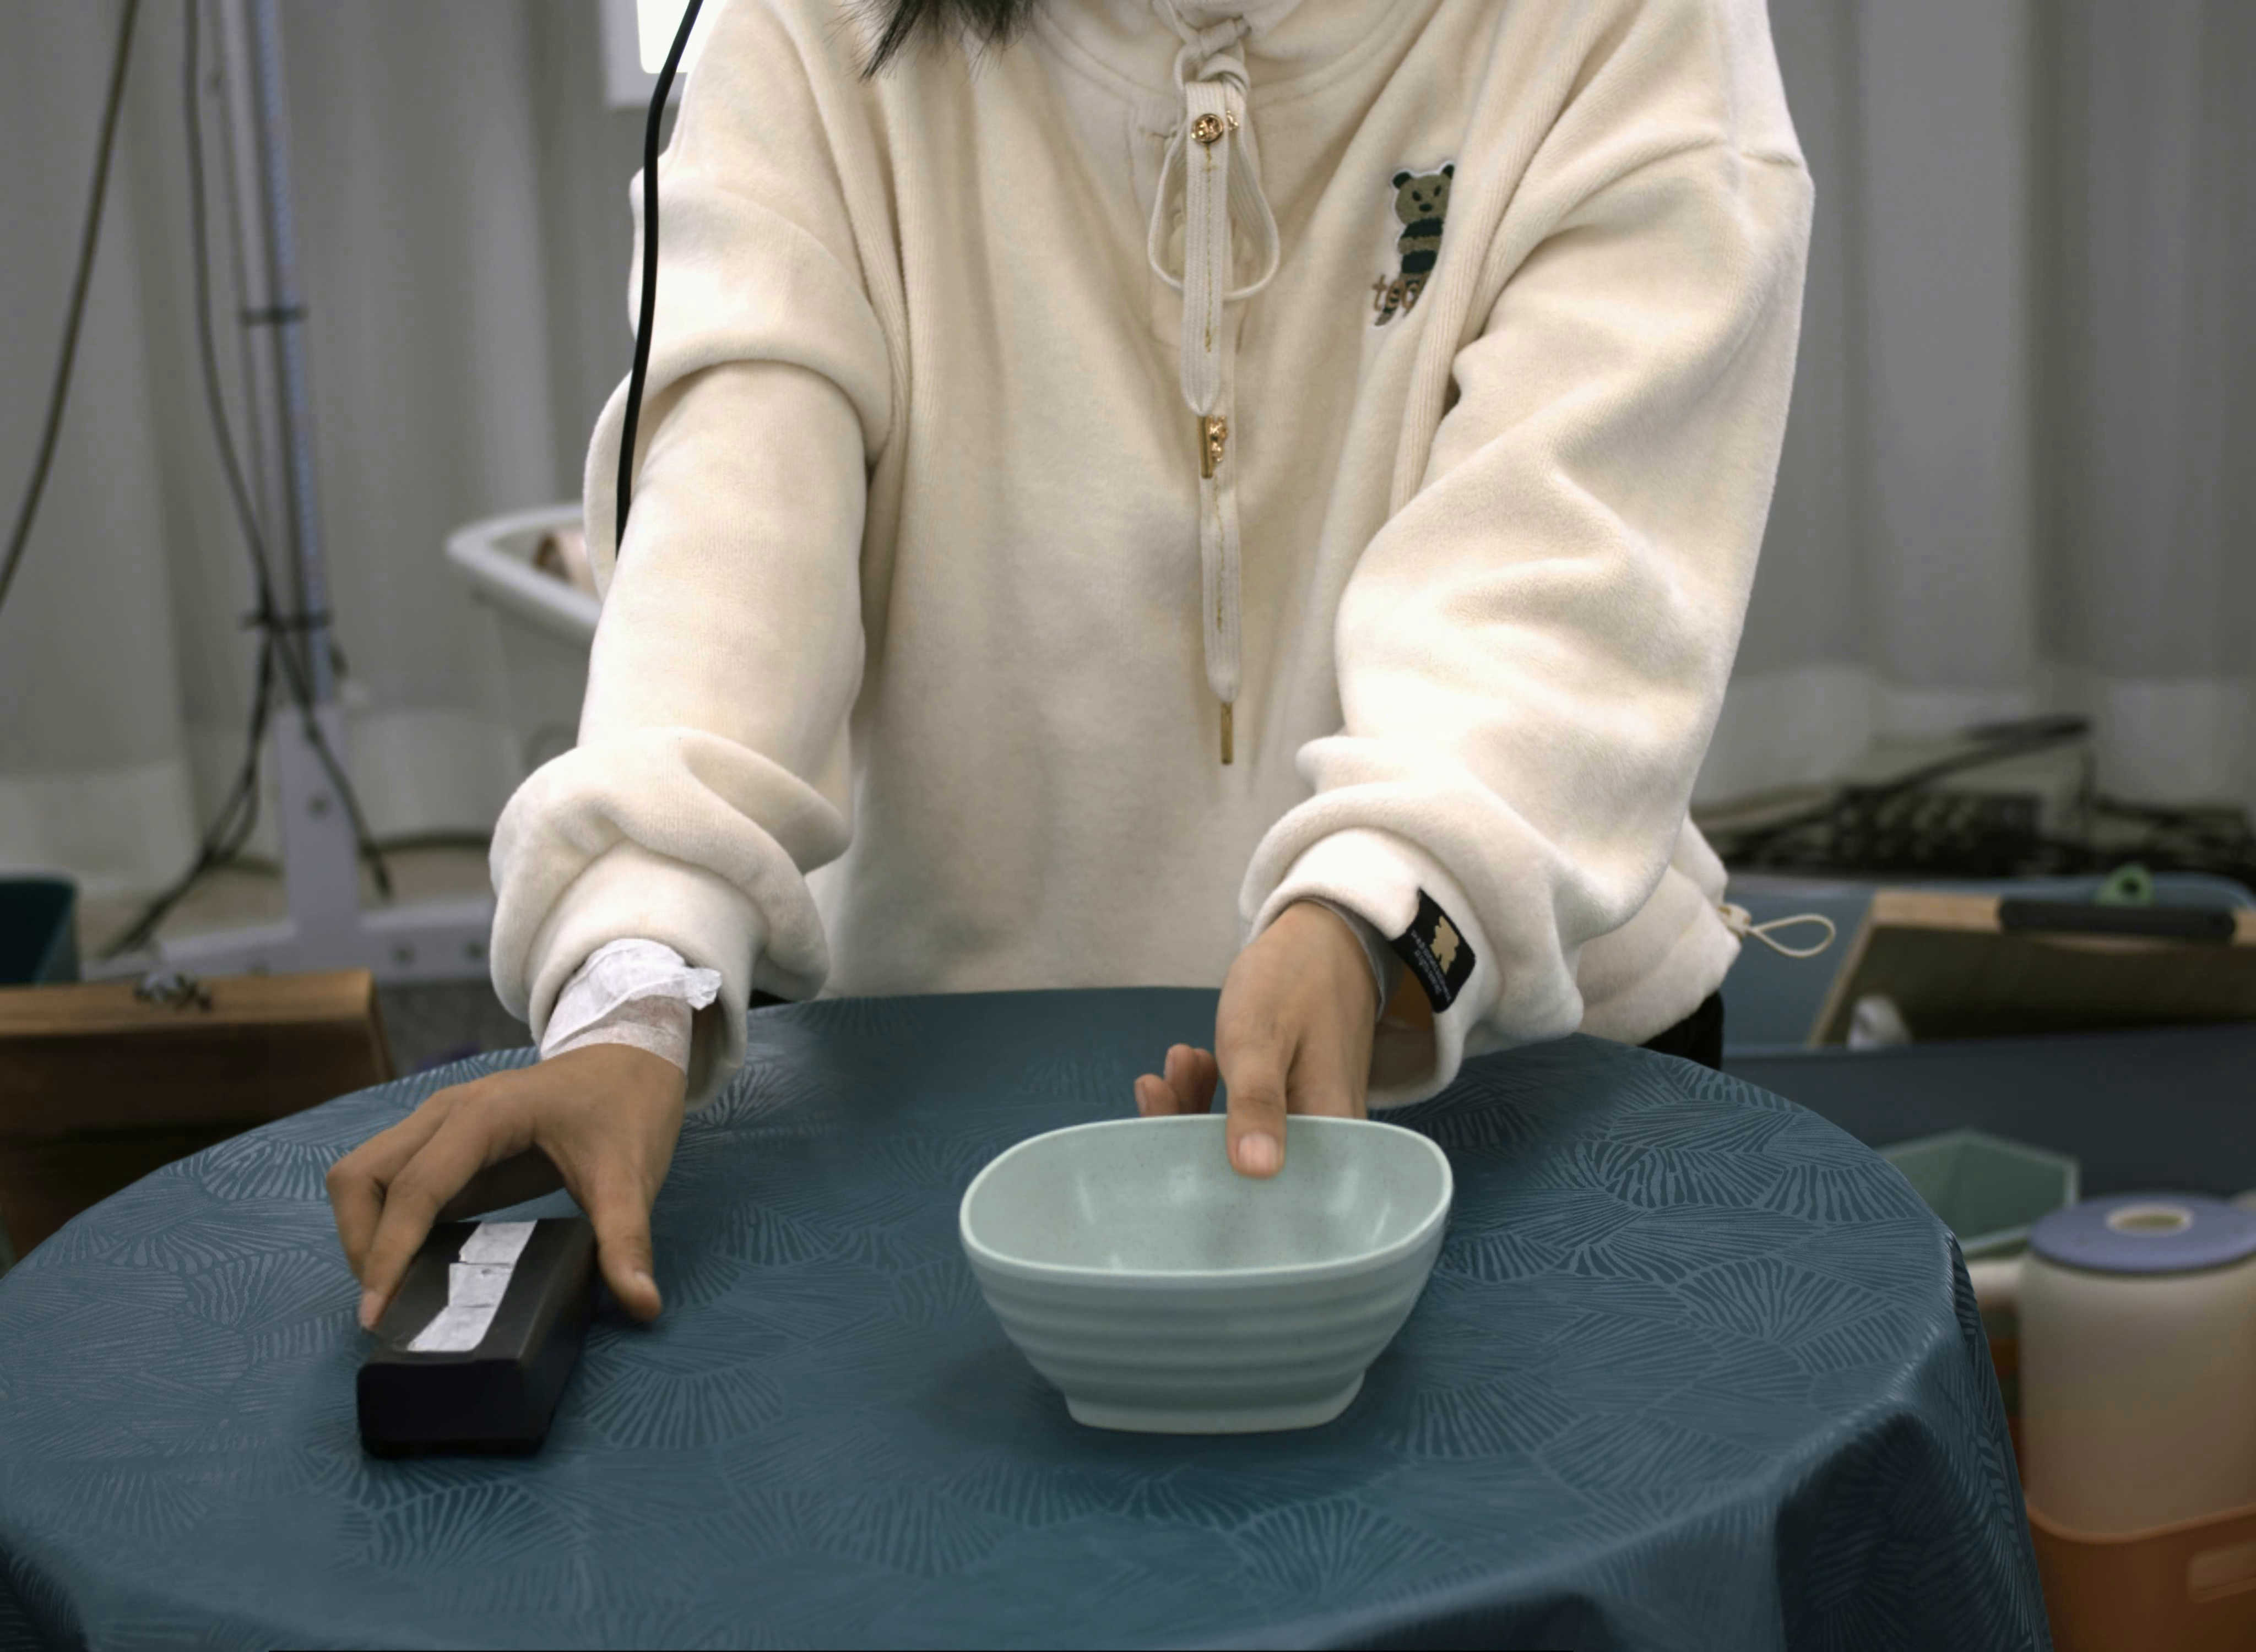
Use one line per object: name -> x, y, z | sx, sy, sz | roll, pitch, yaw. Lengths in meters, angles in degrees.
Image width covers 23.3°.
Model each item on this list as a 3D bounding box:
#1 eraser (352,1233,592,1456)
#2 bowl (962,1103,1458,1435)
eraser -> -0.187, 0.148, 1.573 | 0.053, 0.030, 0.126 | -1, 12, 1
bowl -> 0.023, 0.129, 1.543 | 0.151, 0.058, 0.152 | 0, 16, 0
